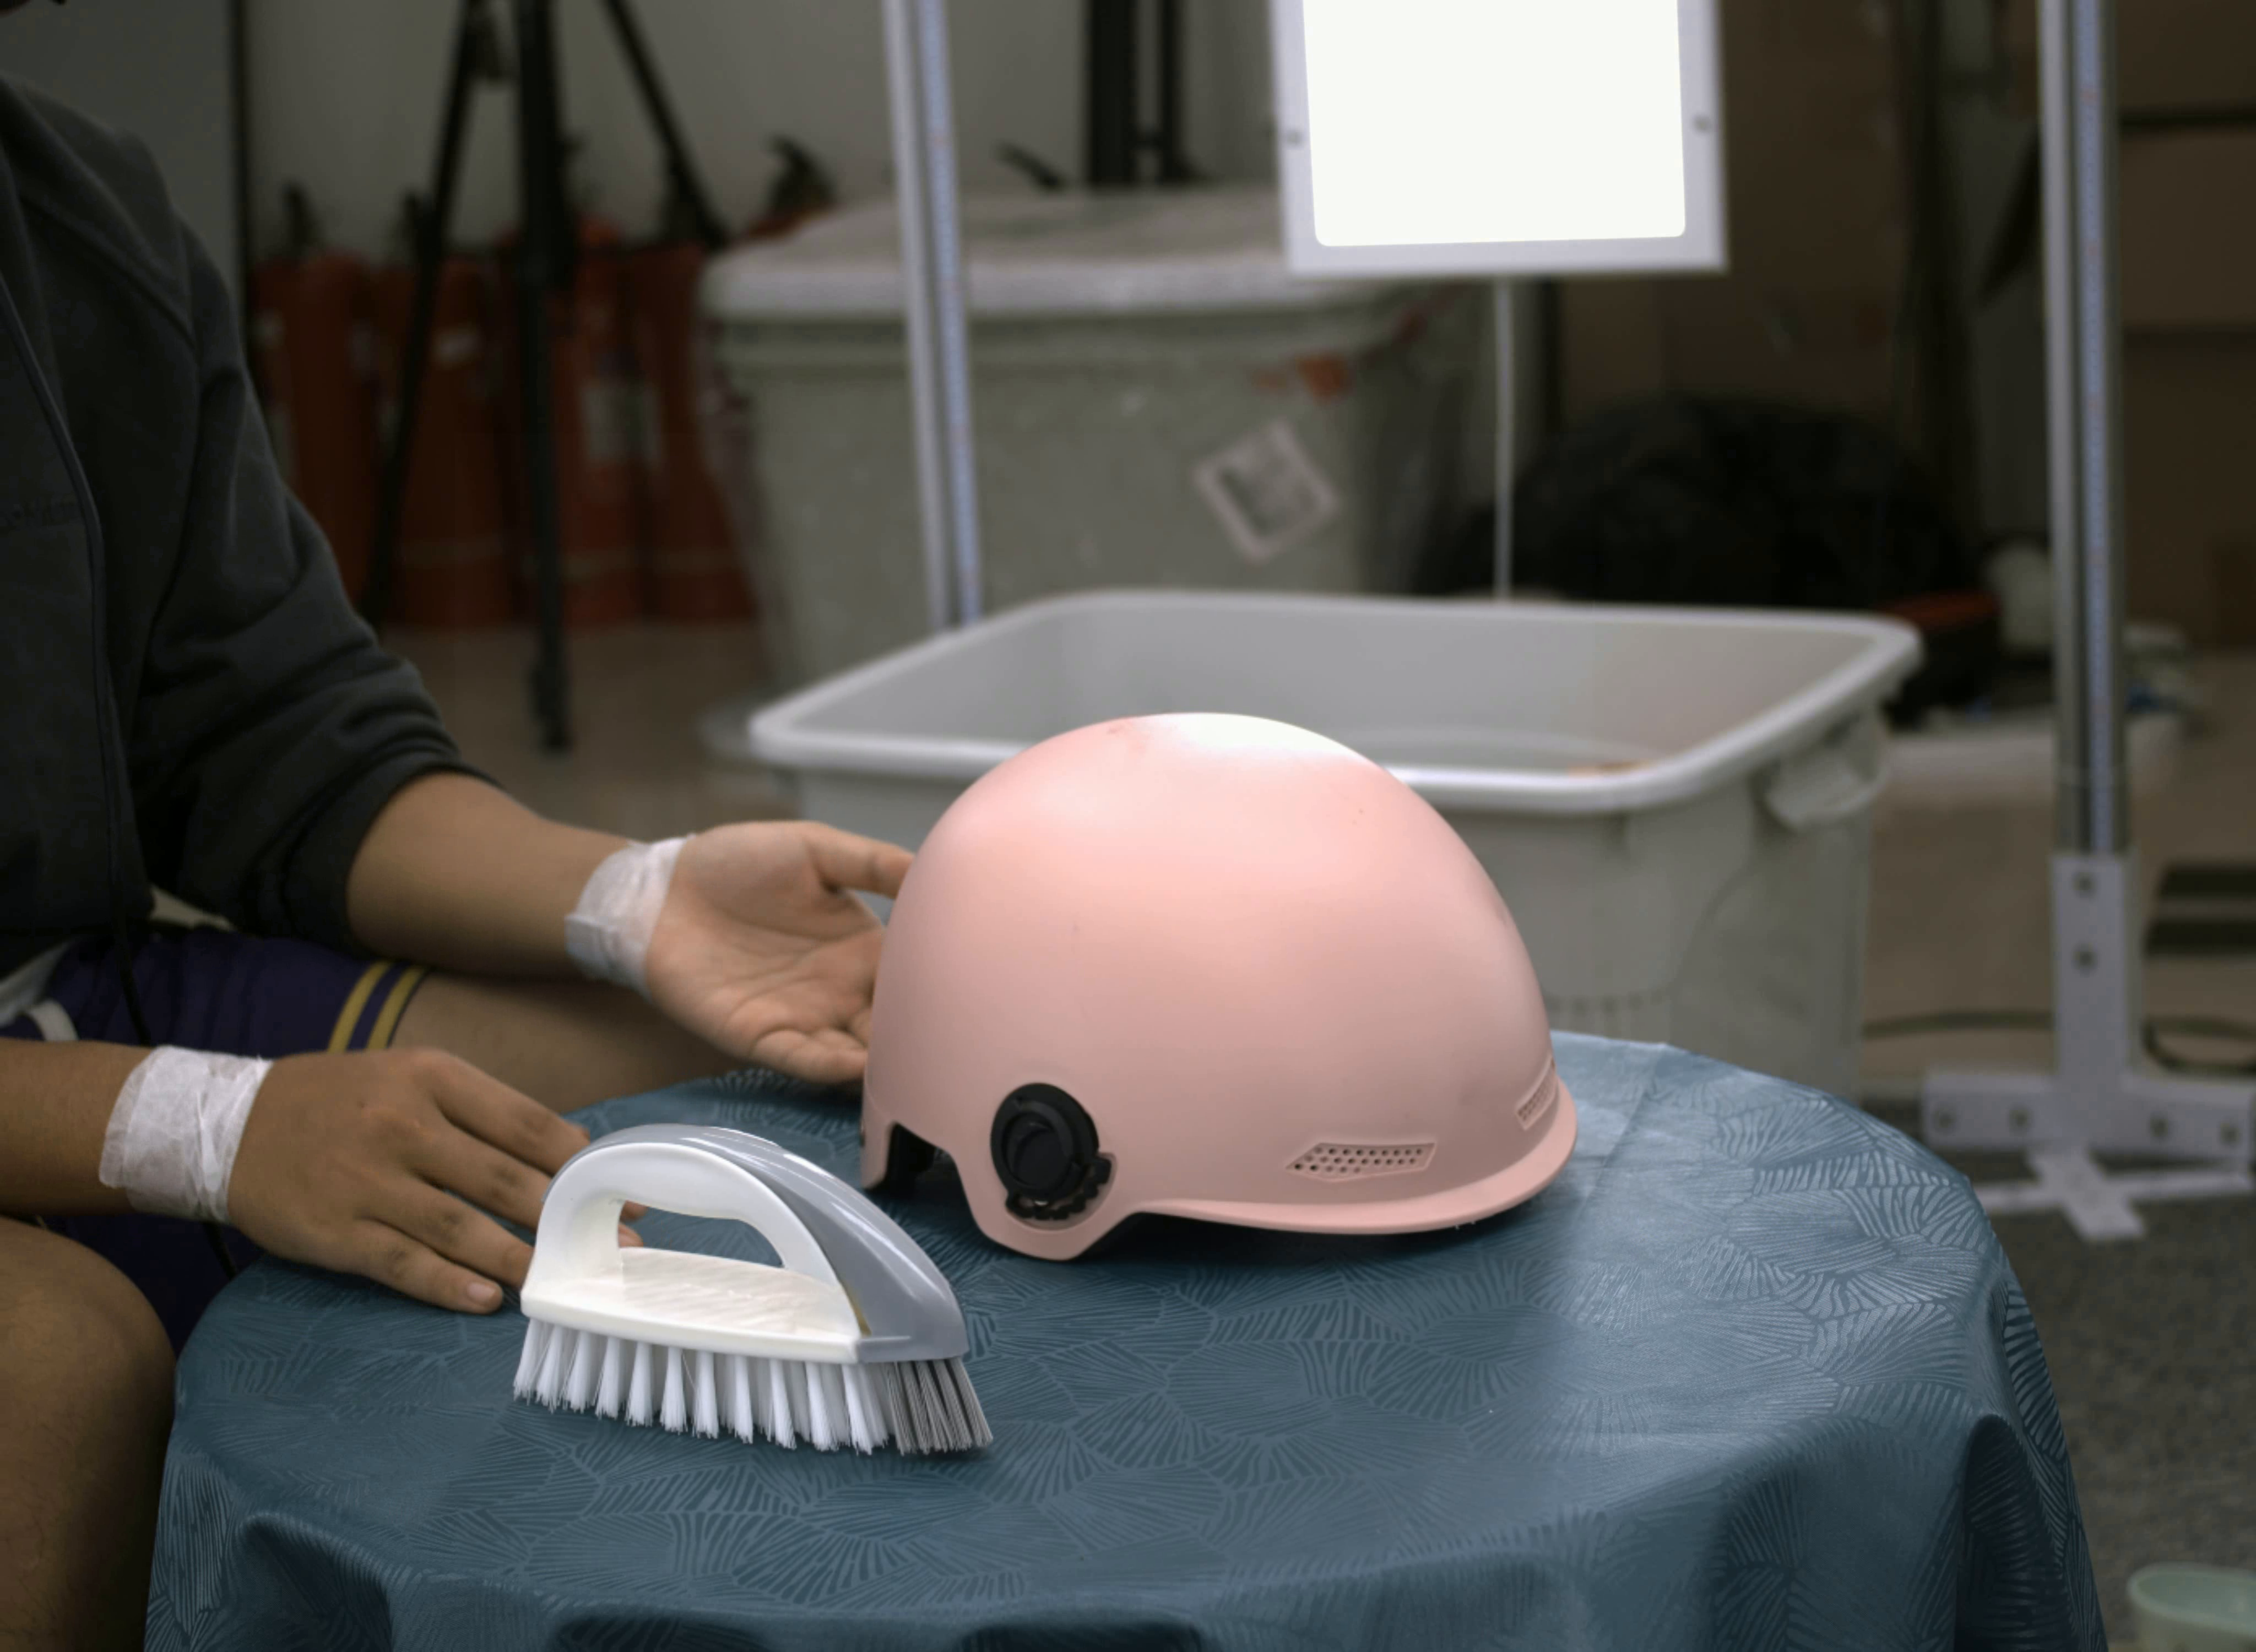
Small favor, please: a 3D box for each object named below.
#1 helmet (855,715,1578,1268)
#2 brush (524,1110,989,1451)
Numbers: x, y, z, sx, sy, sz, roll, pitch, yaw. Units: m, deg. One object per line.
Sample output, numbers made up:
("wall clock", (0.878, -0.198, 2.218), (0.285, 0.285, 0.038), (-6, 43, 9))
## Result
("helmet", (0.030, 0.046, 1.897), (0.228, 0.159, 0.271), (-16, 22, -41))
("brush", (-0.114, 0.137, 1.702), (0.179, 0.094, 0.060), (9, 20, 39))
